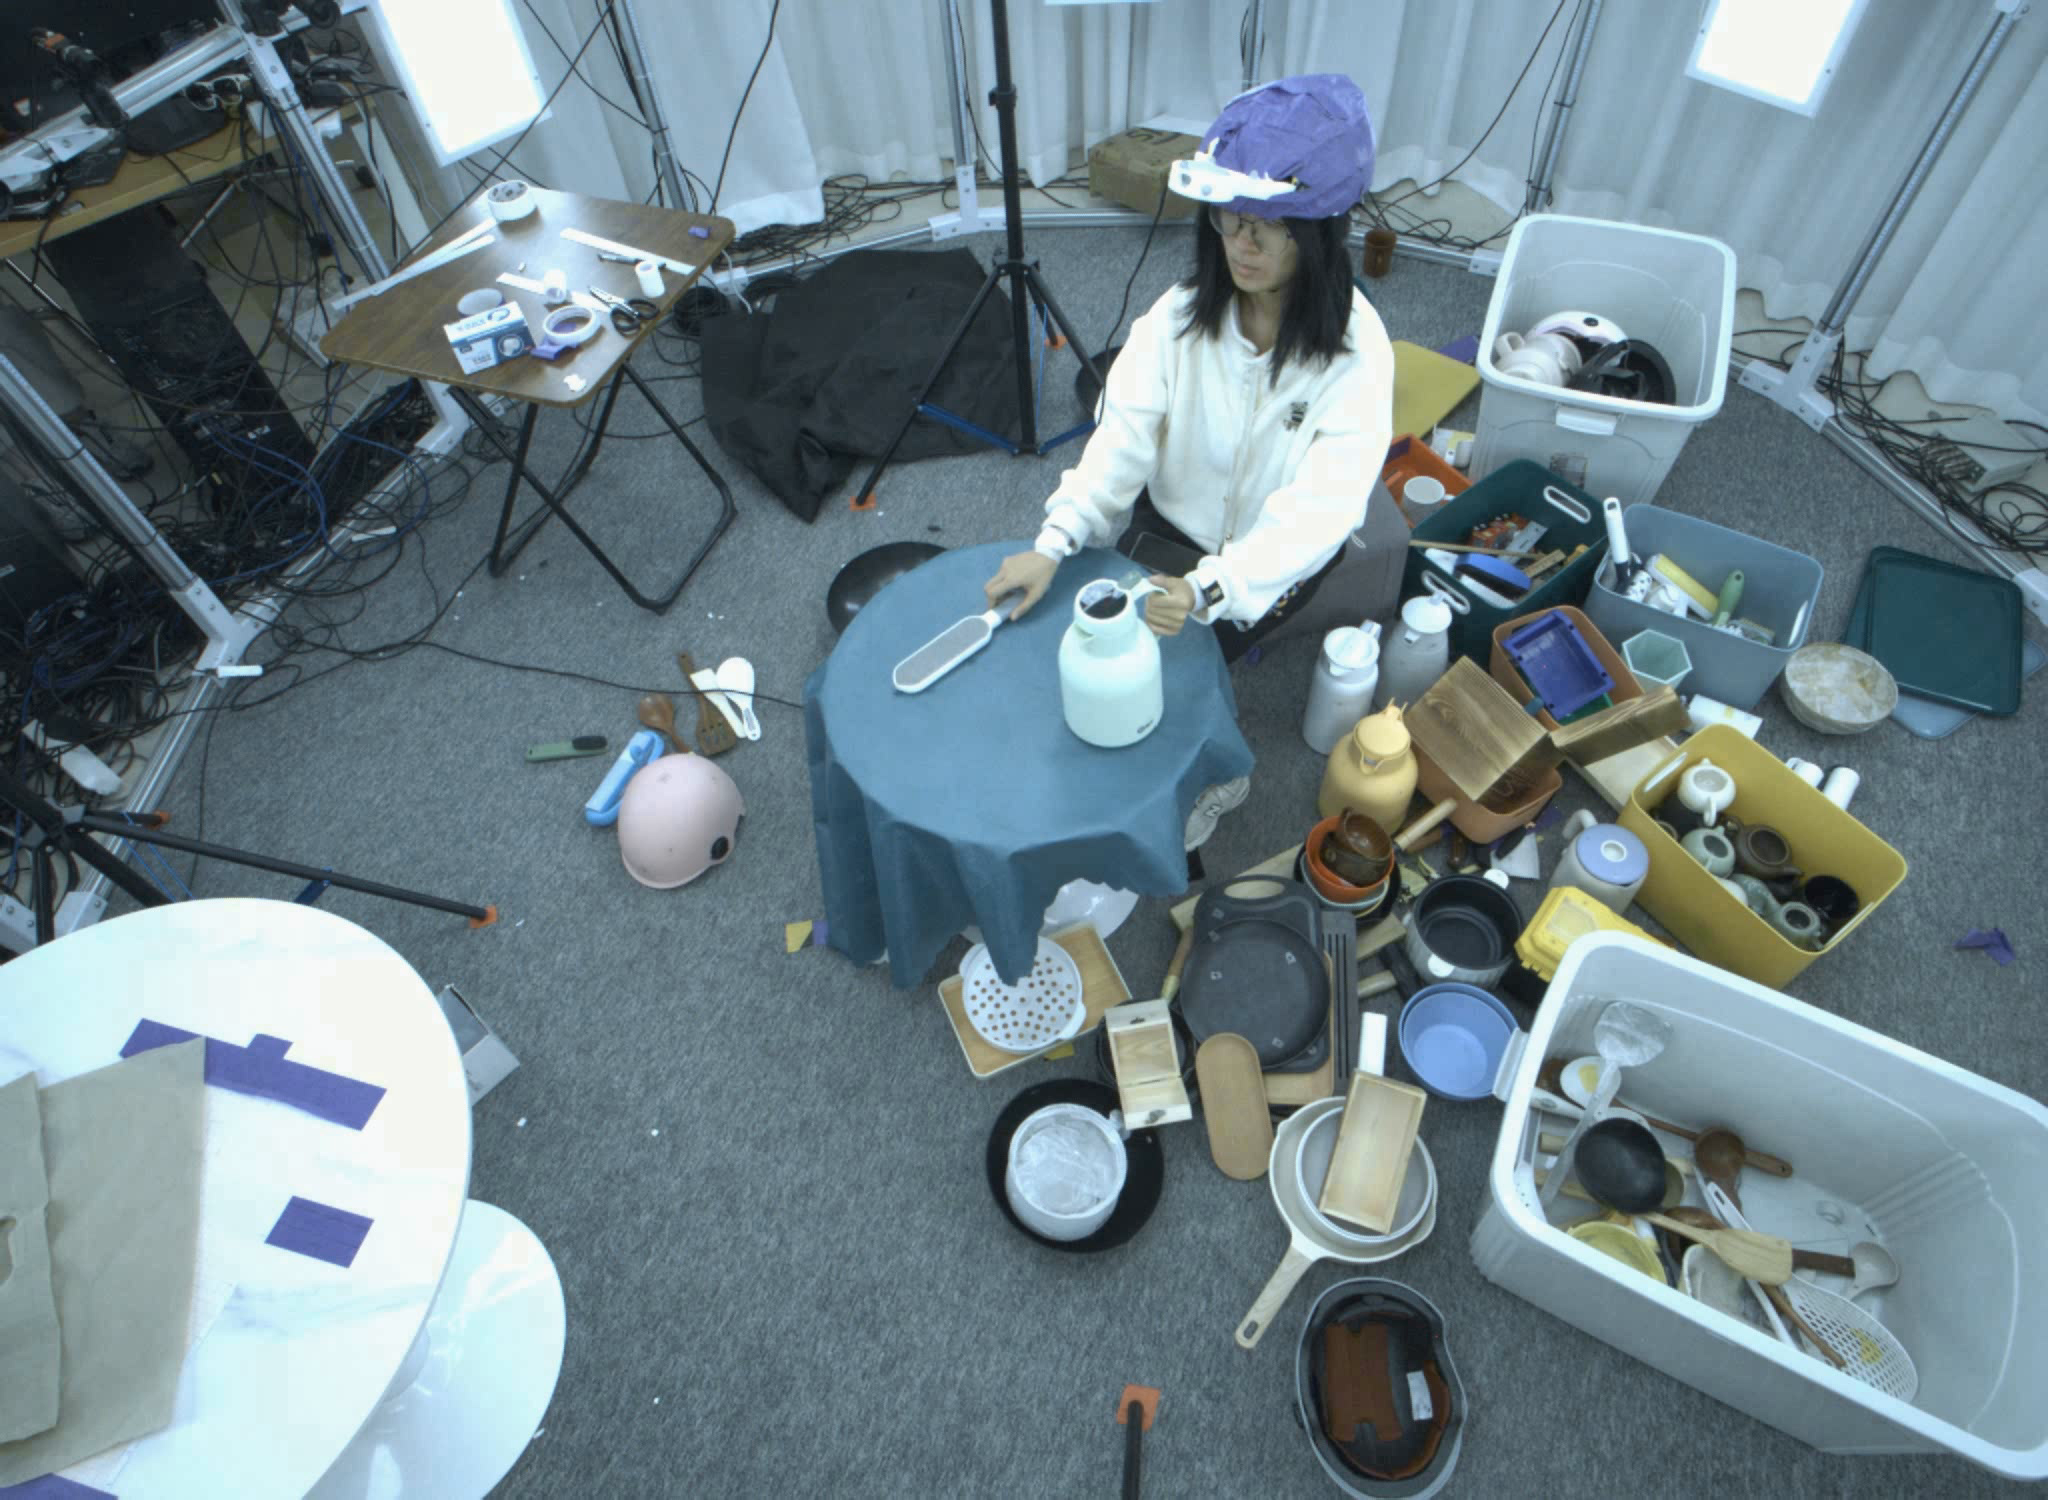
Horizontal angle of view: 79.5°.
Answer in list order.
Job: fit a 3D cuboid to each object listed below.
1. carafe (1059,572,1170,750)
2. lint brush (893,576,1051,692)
[{"bbox_3d":[0.130,-0.132,1.718,0.188,0.260,0.141,-38,59,-21],"label":"carafe"},{"bbox_3d":[-0.076,-0.184,1.903,0.311,0.021,0.059,-37,60,-21],"label":"lint brush"}]
